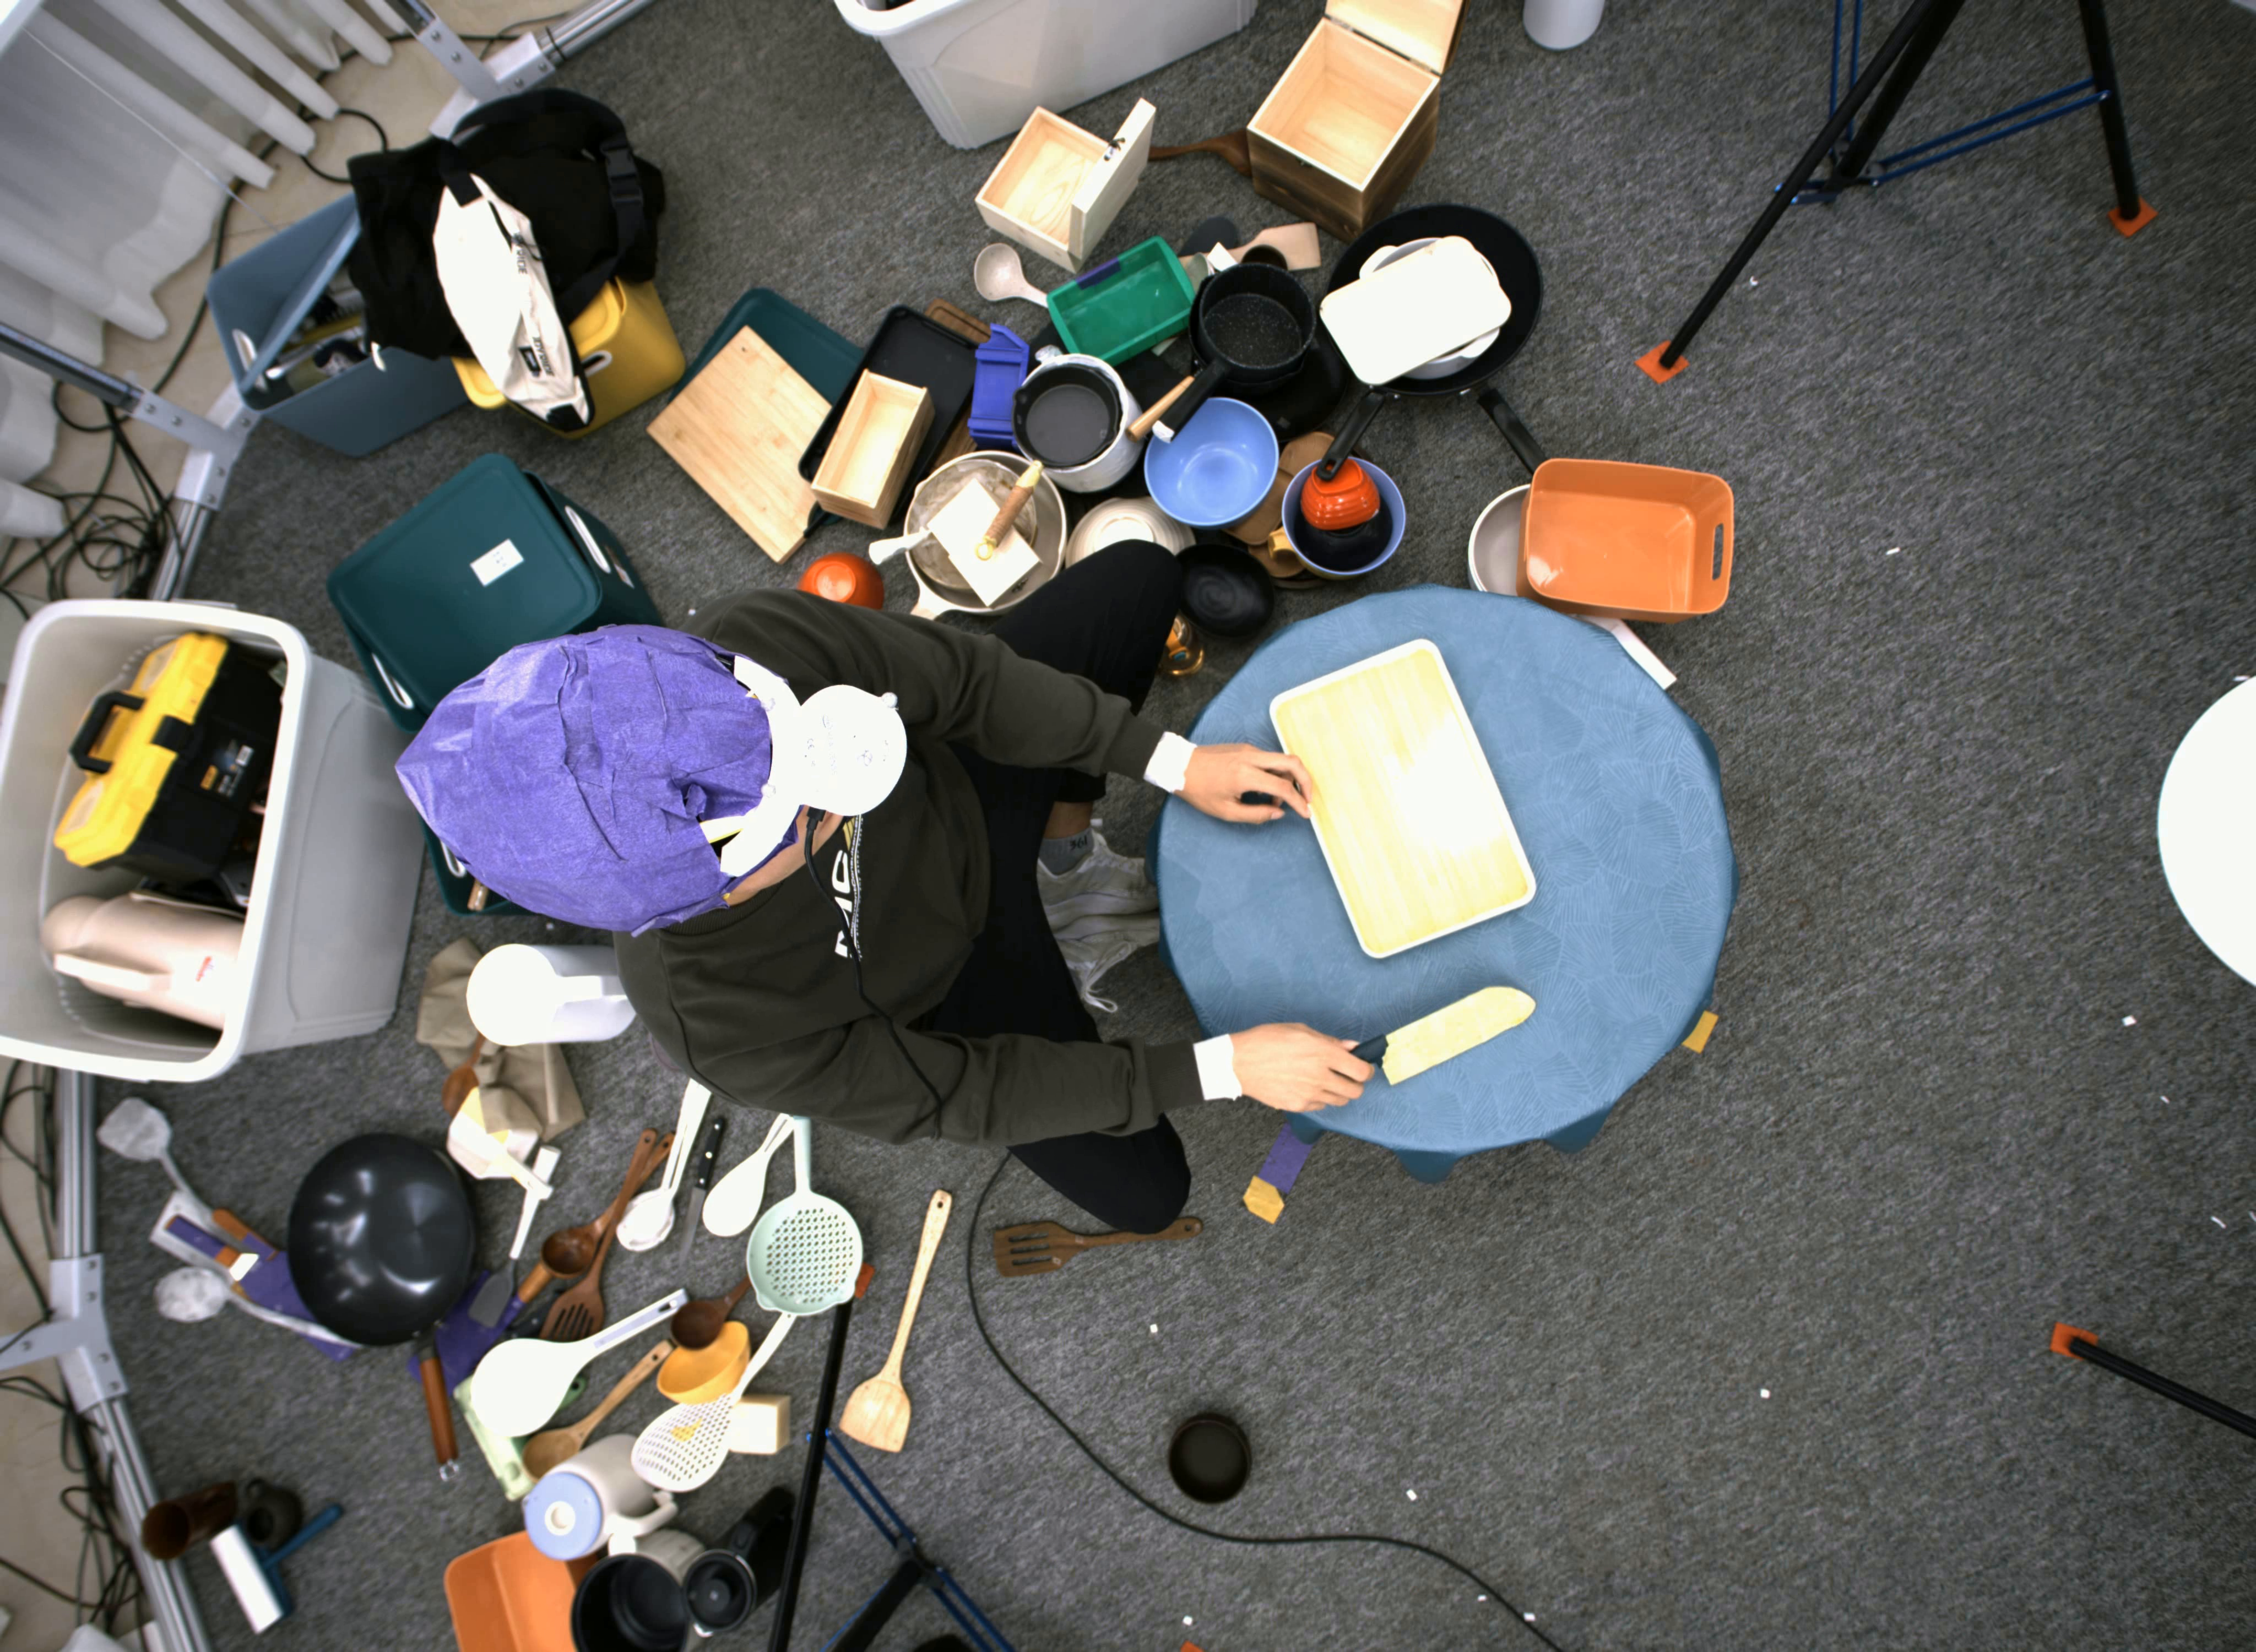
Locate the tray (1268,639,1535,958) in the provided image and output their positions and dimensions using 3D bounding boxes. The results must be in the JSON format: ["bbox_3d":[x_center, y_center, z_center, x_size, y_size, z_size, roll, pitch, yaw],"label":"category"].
[{"bbox_3d":[0.285,-0.031,1.449,0.193,0.027,0.298,-22,83,10],"label":"tray"}]

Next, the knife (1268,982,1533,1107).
[{"bbox_3d":[0.281,0.228,1.415,0.290,0.026,0.082,-23,122,4],"label":"knife"}]
